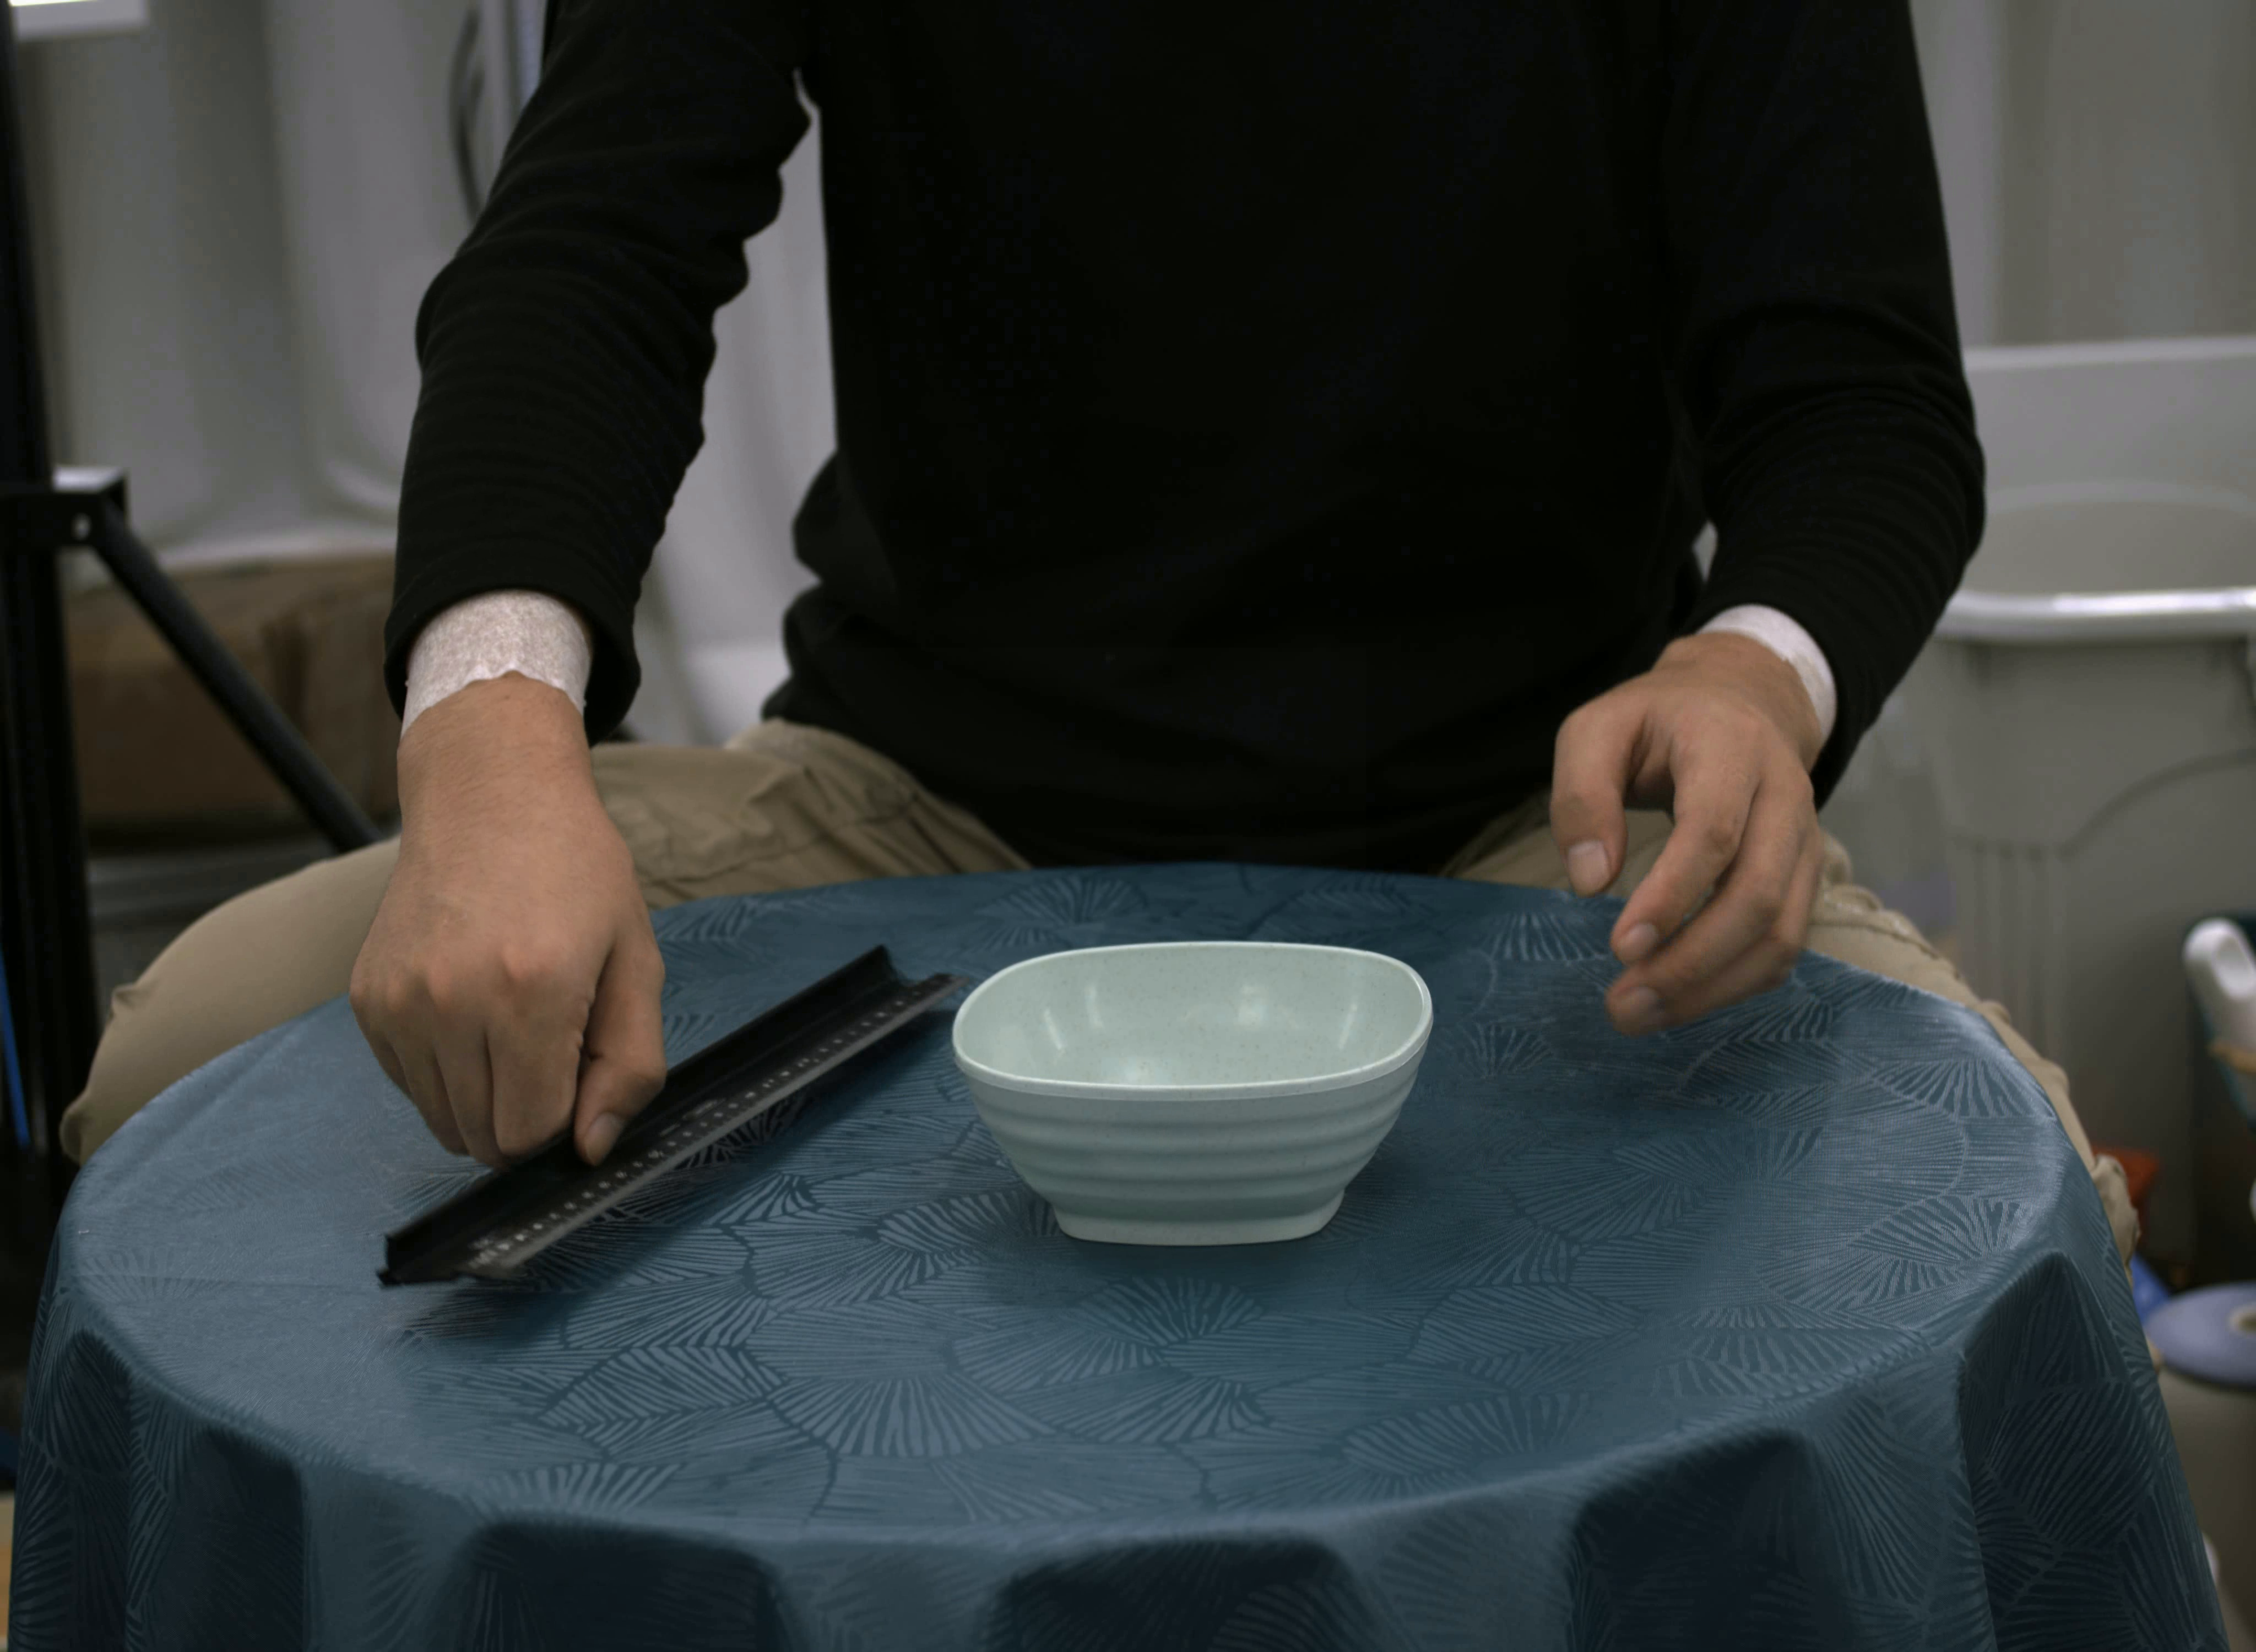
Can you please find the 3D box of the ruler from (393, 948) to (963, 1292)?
[{"bbox_3d":[-0.129,0.083,1.601,0.040,0.017,0.308,-3,13,24],"label":"ruler"}]

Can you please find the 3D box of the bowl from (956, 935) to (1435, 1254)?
[{"bbox_3d":[0.021,0.082,1.545,0.151,0.058,0.152,-4,18,0],"label":"bowl"}]
